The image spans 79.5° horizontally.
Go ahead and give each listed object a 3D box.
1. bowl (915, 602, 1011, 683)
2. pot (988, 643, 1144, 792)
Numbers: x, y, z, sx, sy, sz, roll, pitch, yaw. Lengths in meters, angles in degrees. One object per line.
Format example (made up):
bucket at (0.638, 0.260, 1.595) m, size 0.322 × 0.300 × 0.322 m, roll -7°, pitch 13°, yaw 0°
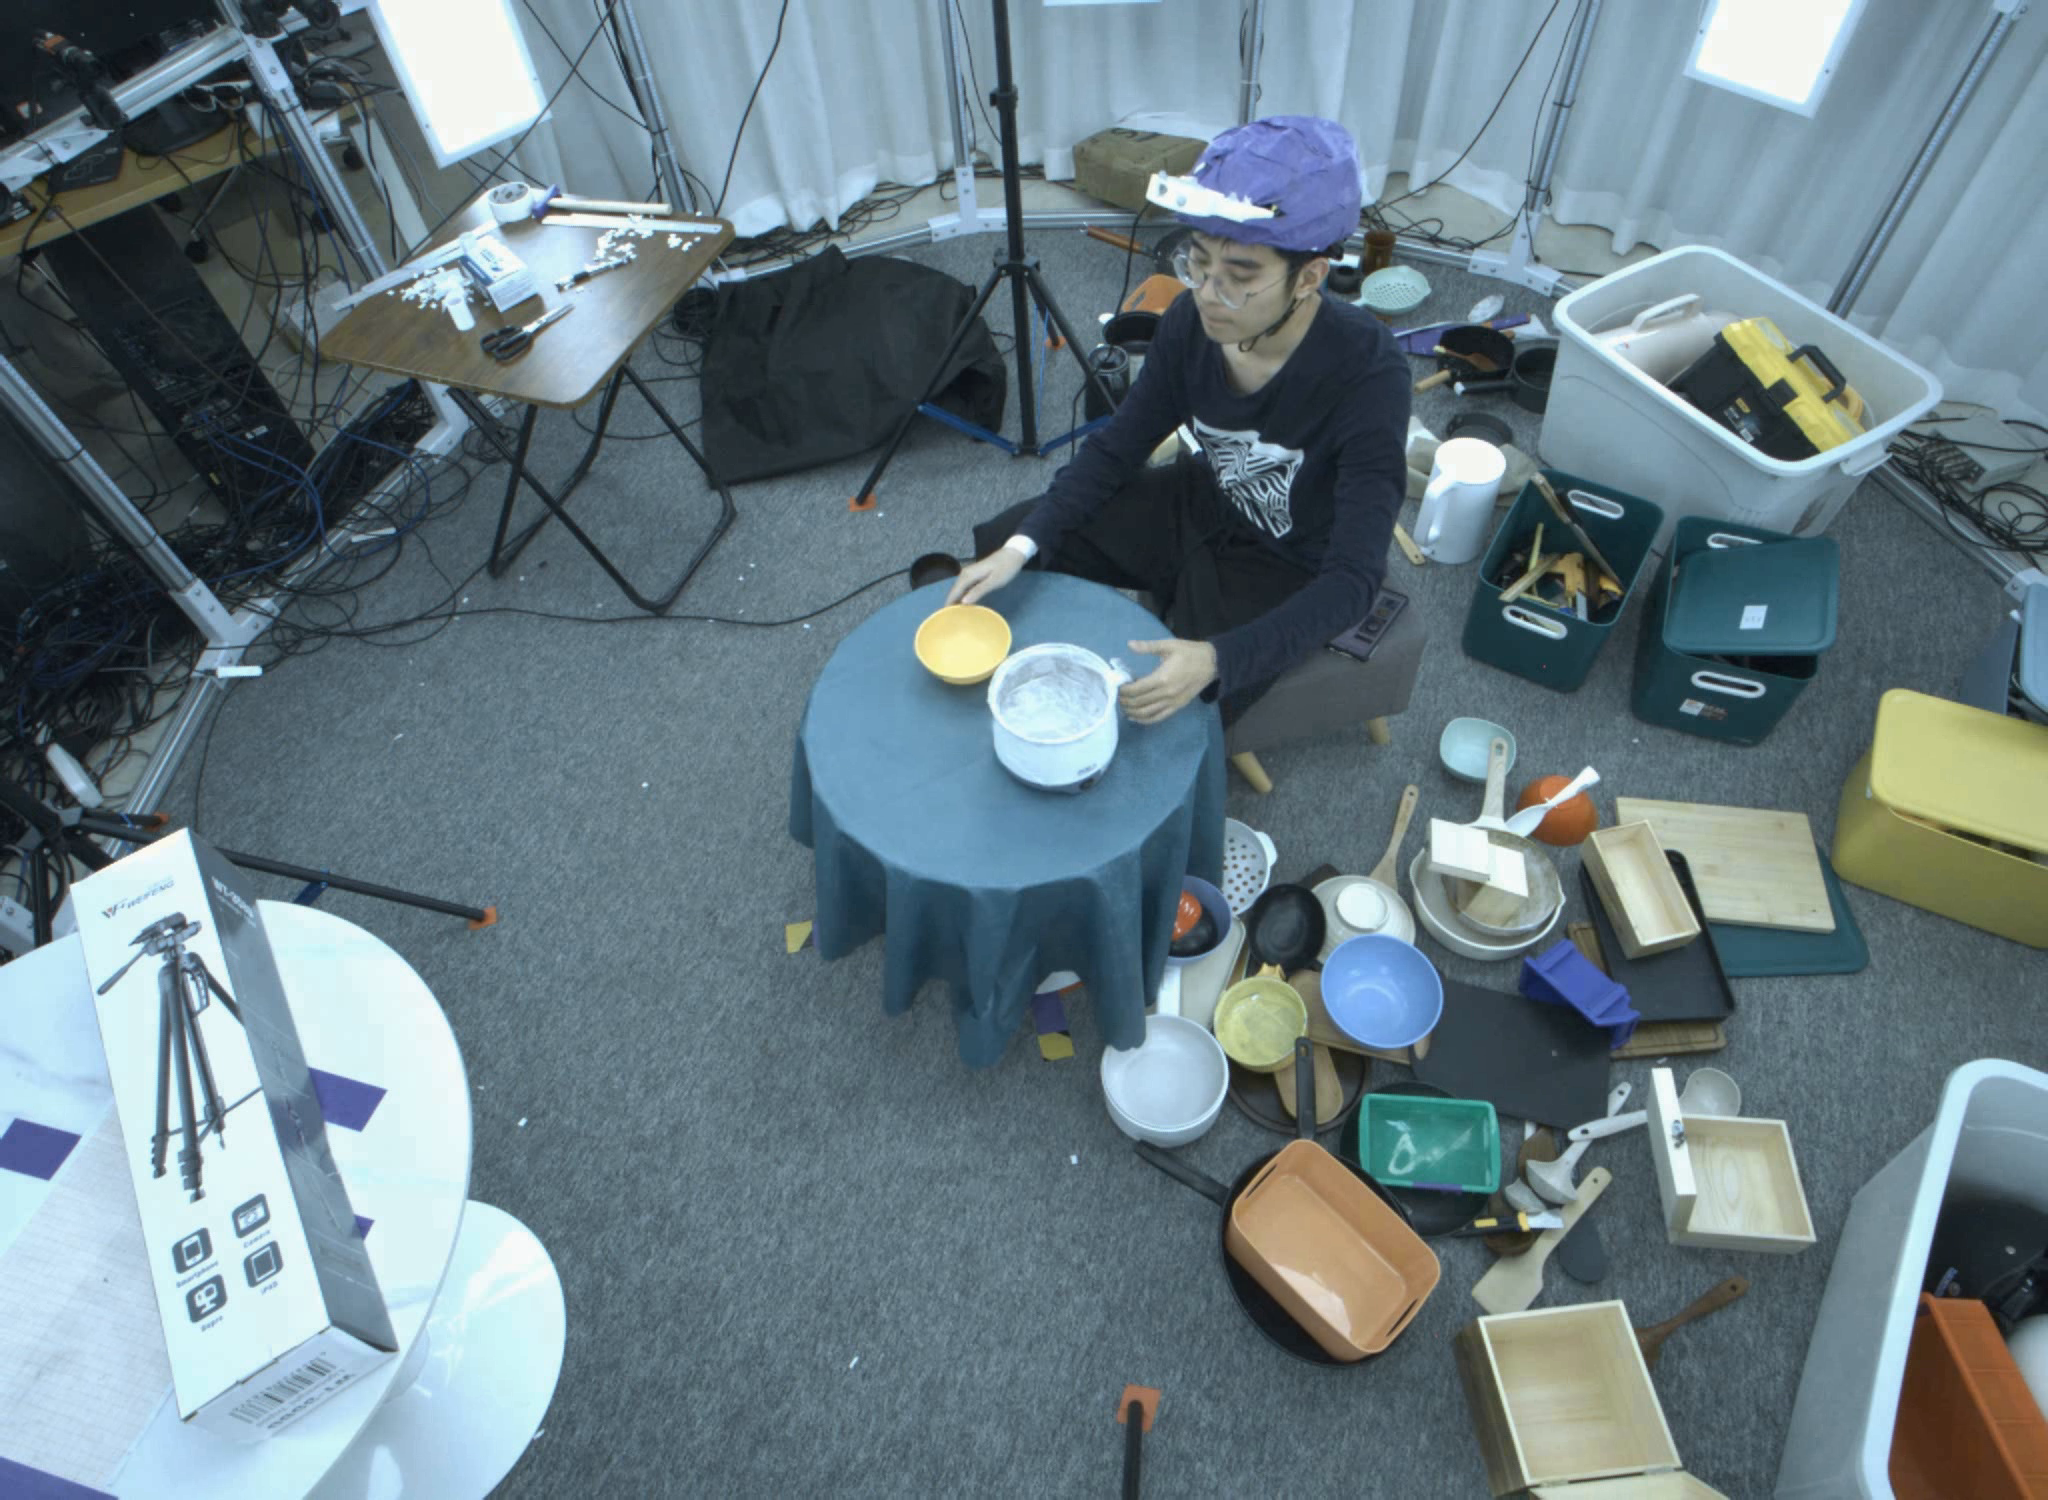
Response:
bowl at (-0.091, -0.152, 1.867) m, size 0.145 × 0.061 × 0.144 m, roll 0°, pitch 56°, yaw 2°
pot at (0.066, -0.056, 1.748) m, size 0.235 × 0.138 × 0.175 m, roll -28°, pitch 60°, yaw -16°
